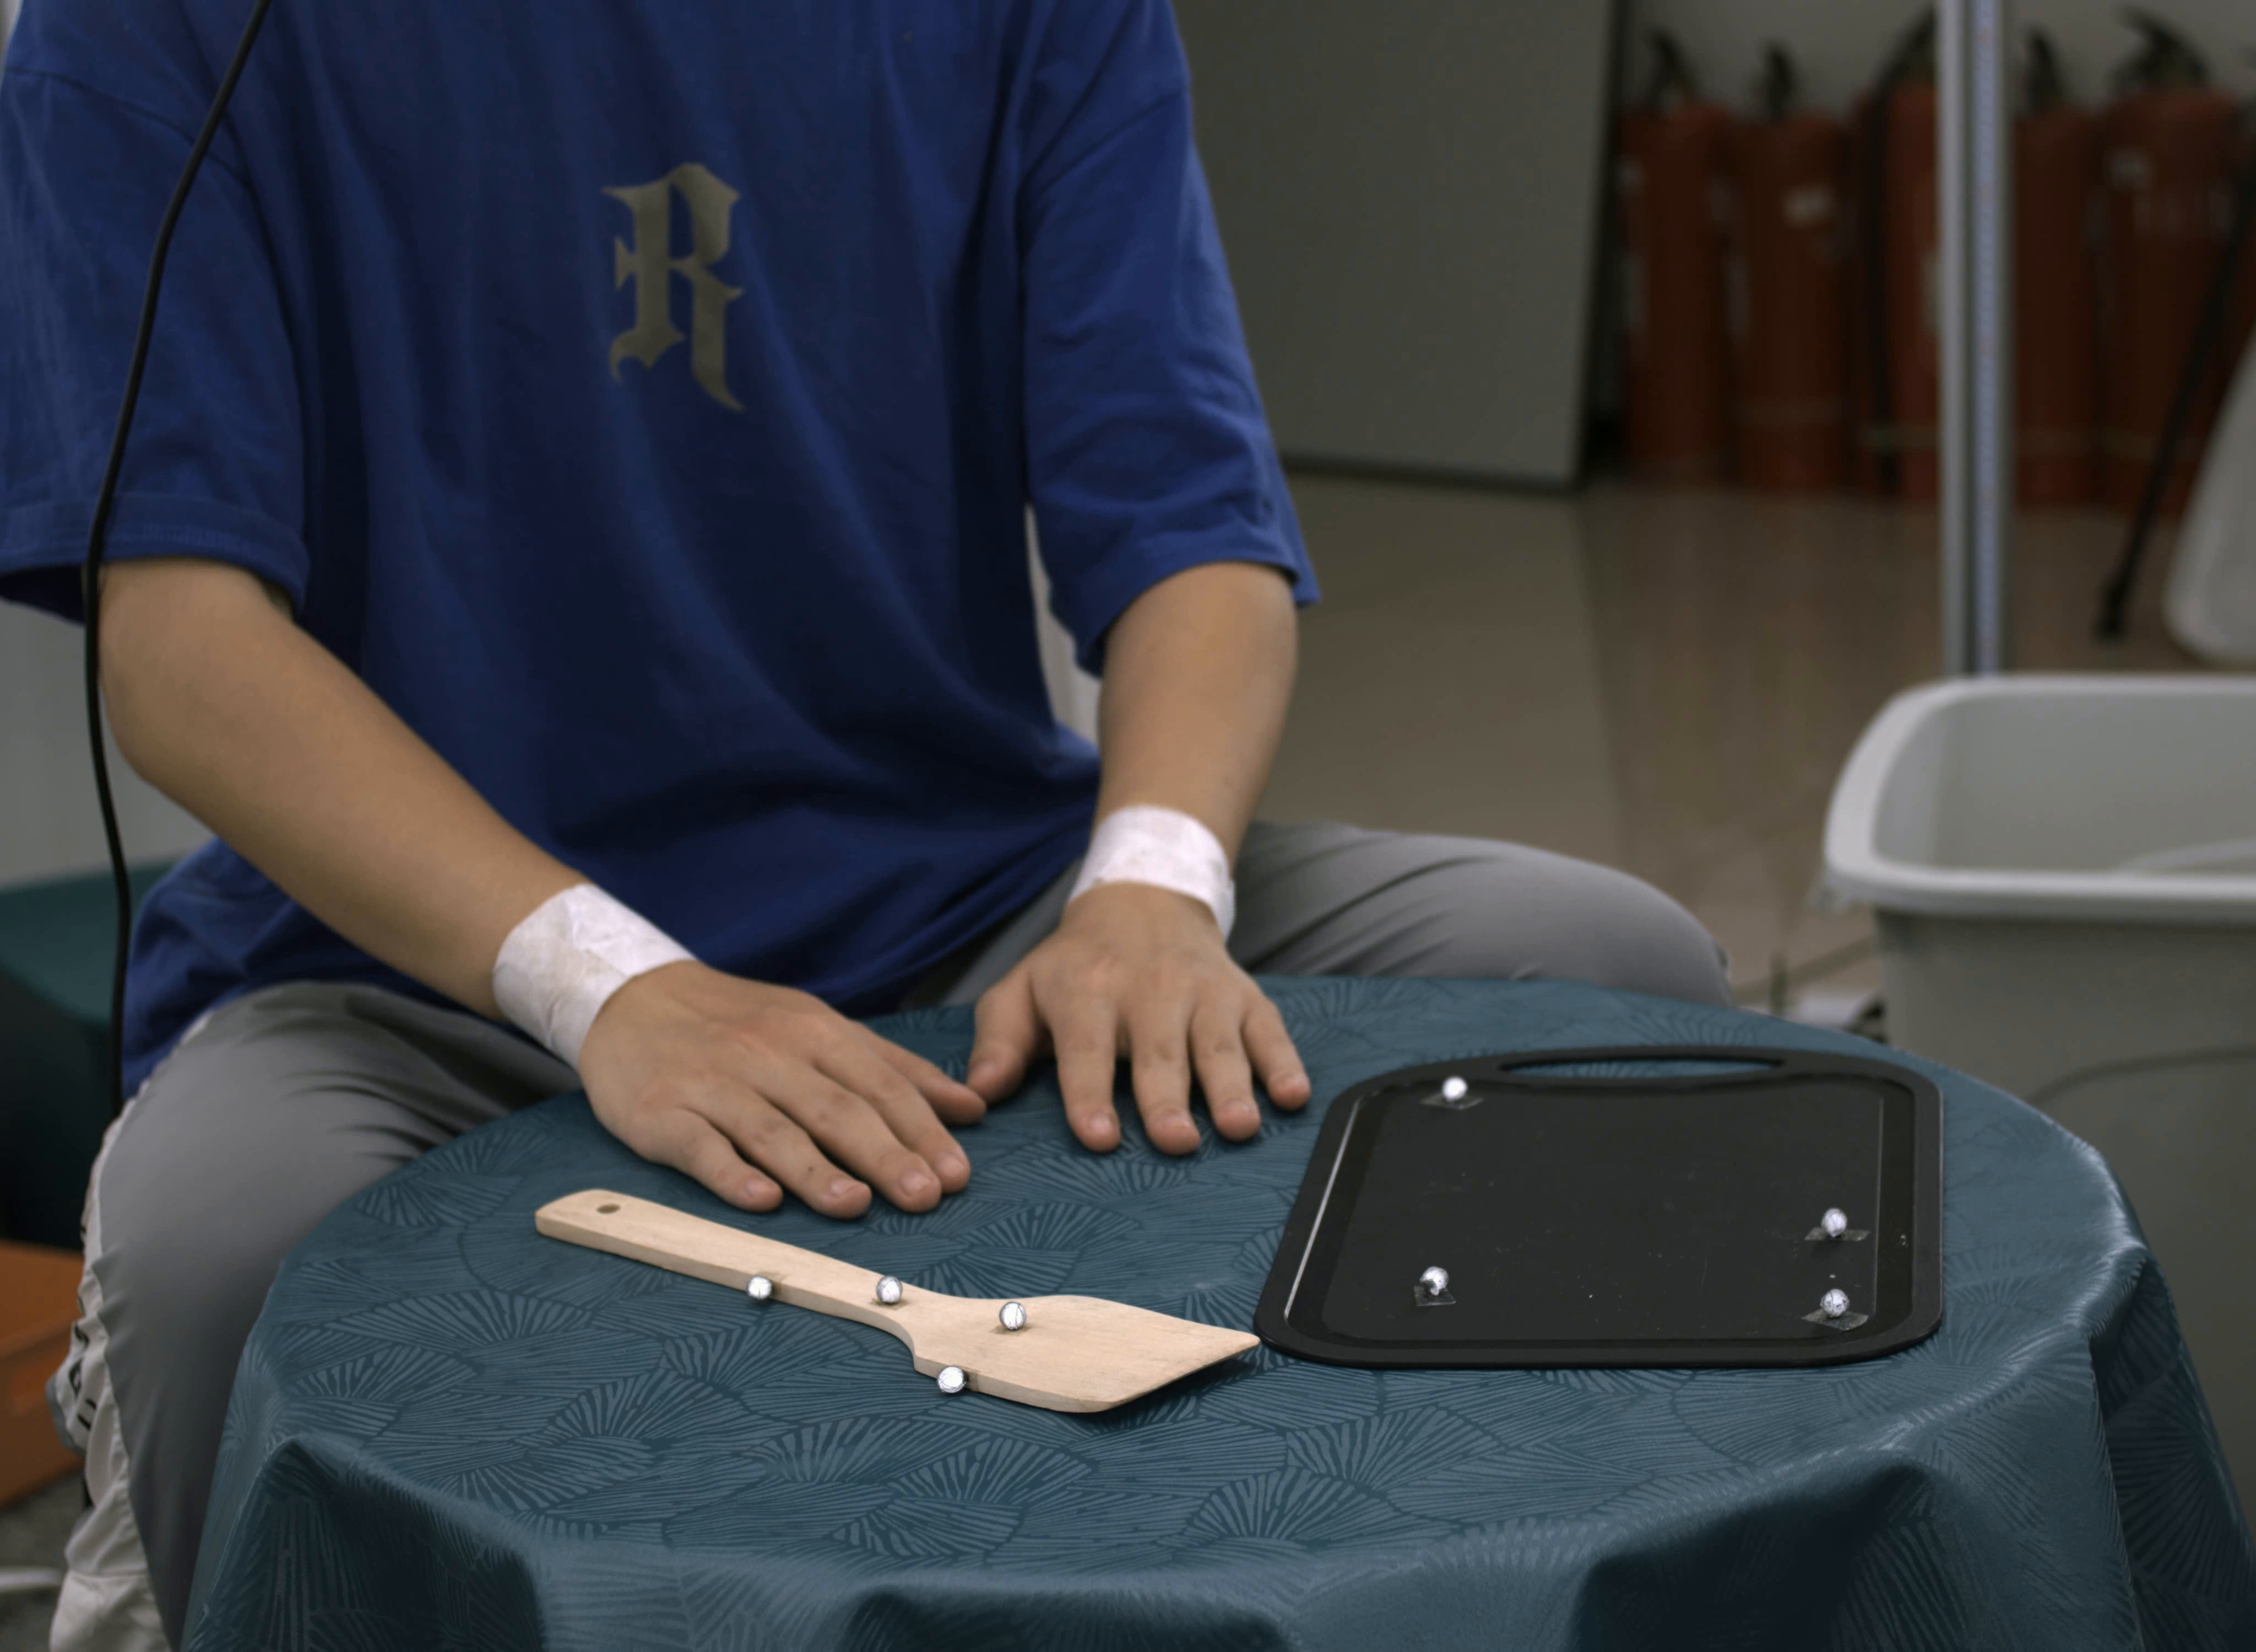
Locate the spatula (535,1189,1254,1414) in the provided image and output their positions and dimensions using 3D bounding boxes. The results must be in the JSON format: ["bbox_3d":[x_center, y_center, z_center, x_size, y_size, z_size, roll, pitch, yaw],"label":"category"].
[{"bbox_3d":[-0.086,0.145,1.680,0.071,0.011,0.296,-18,20,-42],"label":"spatula"}]

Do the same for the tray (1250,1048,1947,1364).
[{"bbox_3d":[0.157,0.117,1.730,0.209,0.010,0.324,-1,14,10],"label":"tray"}]
